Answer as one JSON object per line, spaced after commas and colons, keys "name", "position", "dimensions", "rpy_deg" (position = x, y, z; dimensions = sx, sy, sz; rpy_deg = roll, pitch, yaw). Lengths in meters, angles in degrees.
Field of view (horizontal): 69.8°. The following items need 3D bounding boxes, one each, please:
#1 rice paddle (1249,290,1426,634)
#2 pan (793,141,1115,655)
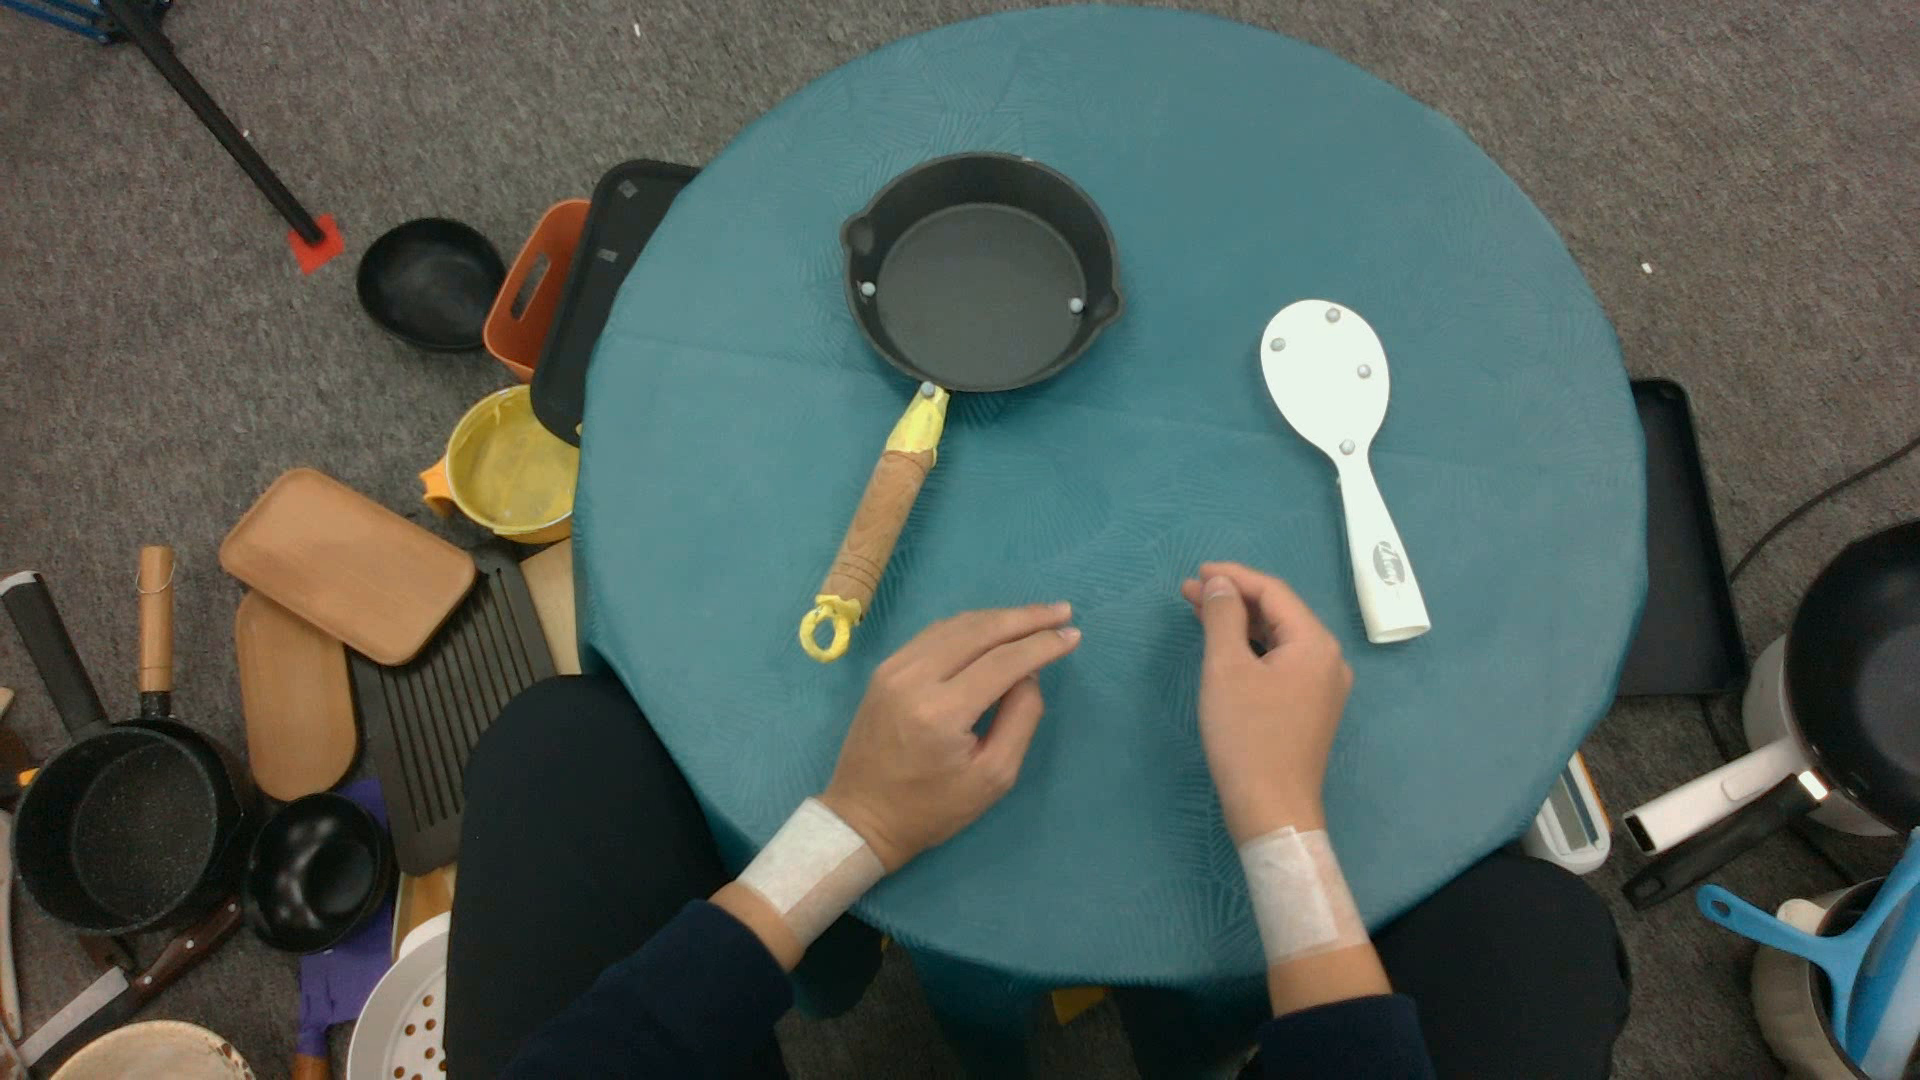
{"name": "rice paddle", "position": [0.209, -0.050, 0.755], "dimensions": [0.069, 0.029, 0.206], "rpy_deg": [-10, 70, -5]}
{"name": "pan", "position": [-0.023, -0.083, 0.759], "dimensions": [0.169, 0.049, 0.325], "rpy_deg": [19, 69, 7]}
